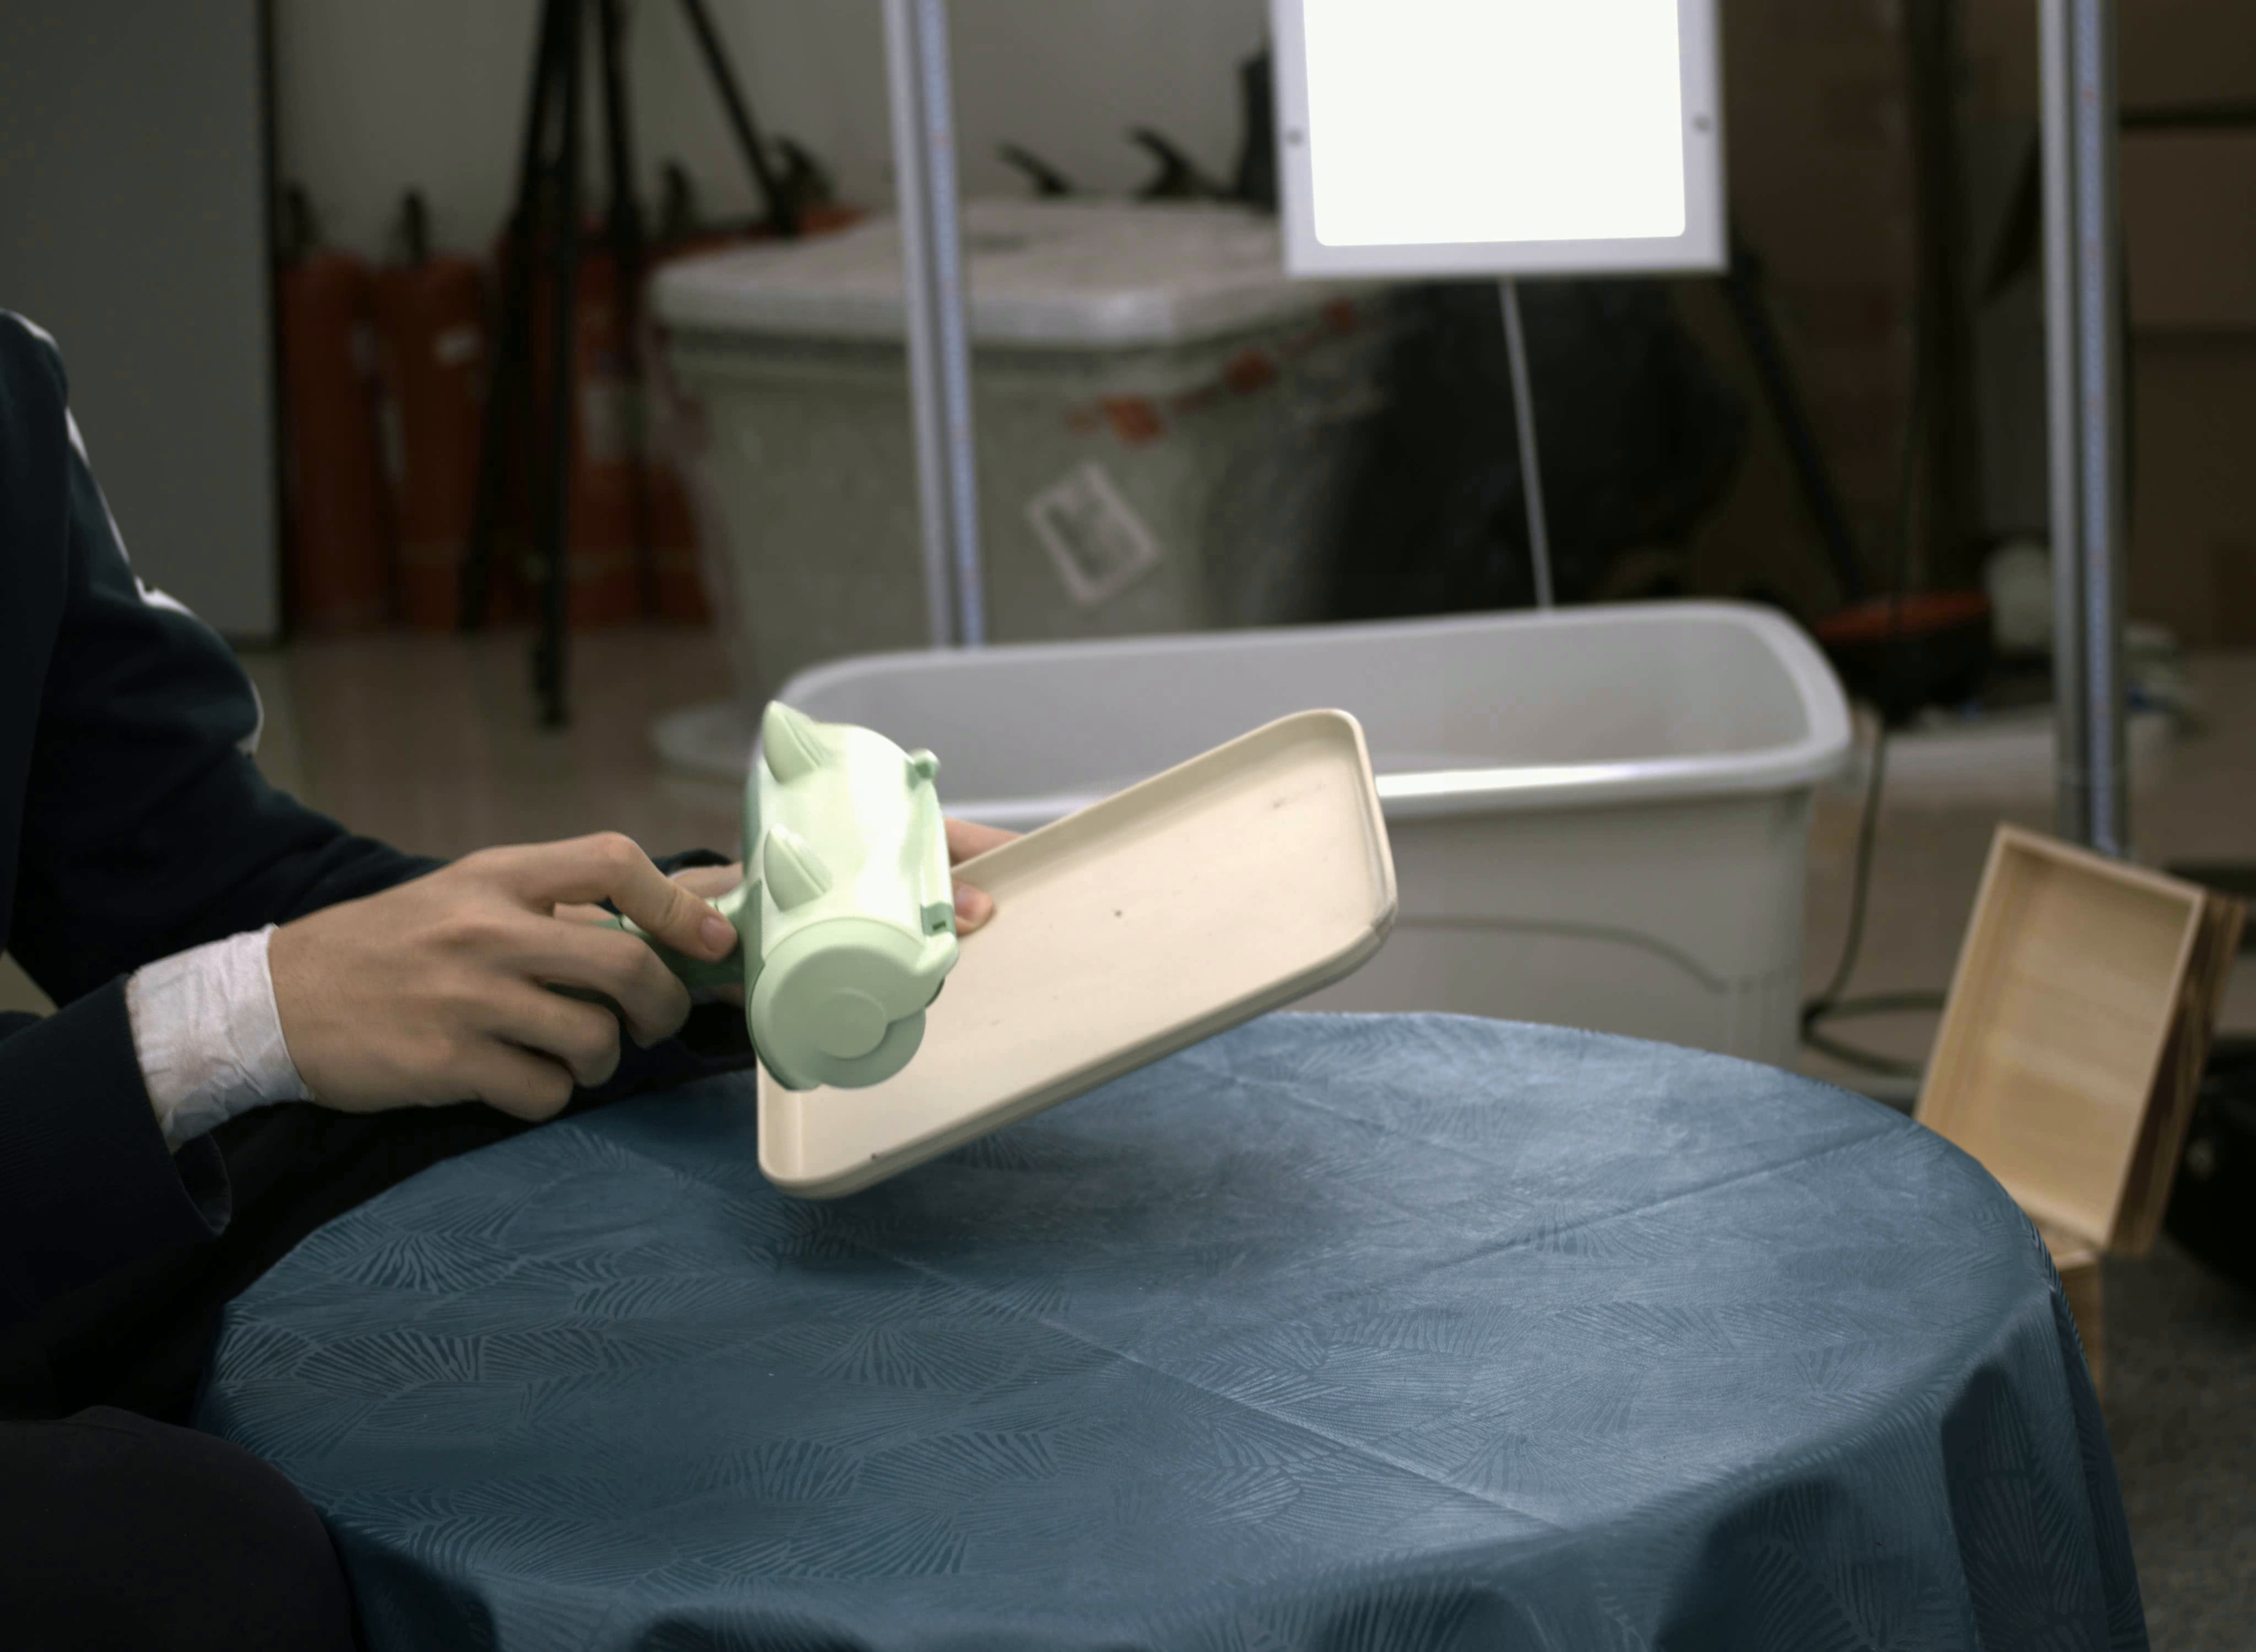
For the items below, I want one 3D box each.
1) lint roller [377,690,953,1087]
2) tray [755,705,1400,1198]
[{"bbox_3d":[-0.148,0.023,1.707,0.183,0.082,0.198,-9,21,0],"label":"lint roller"},{"bbox_3d":[-0.019,0.044,1.891,0.241,0.017,0.171,-25,27,10],"label":"tray"}]
